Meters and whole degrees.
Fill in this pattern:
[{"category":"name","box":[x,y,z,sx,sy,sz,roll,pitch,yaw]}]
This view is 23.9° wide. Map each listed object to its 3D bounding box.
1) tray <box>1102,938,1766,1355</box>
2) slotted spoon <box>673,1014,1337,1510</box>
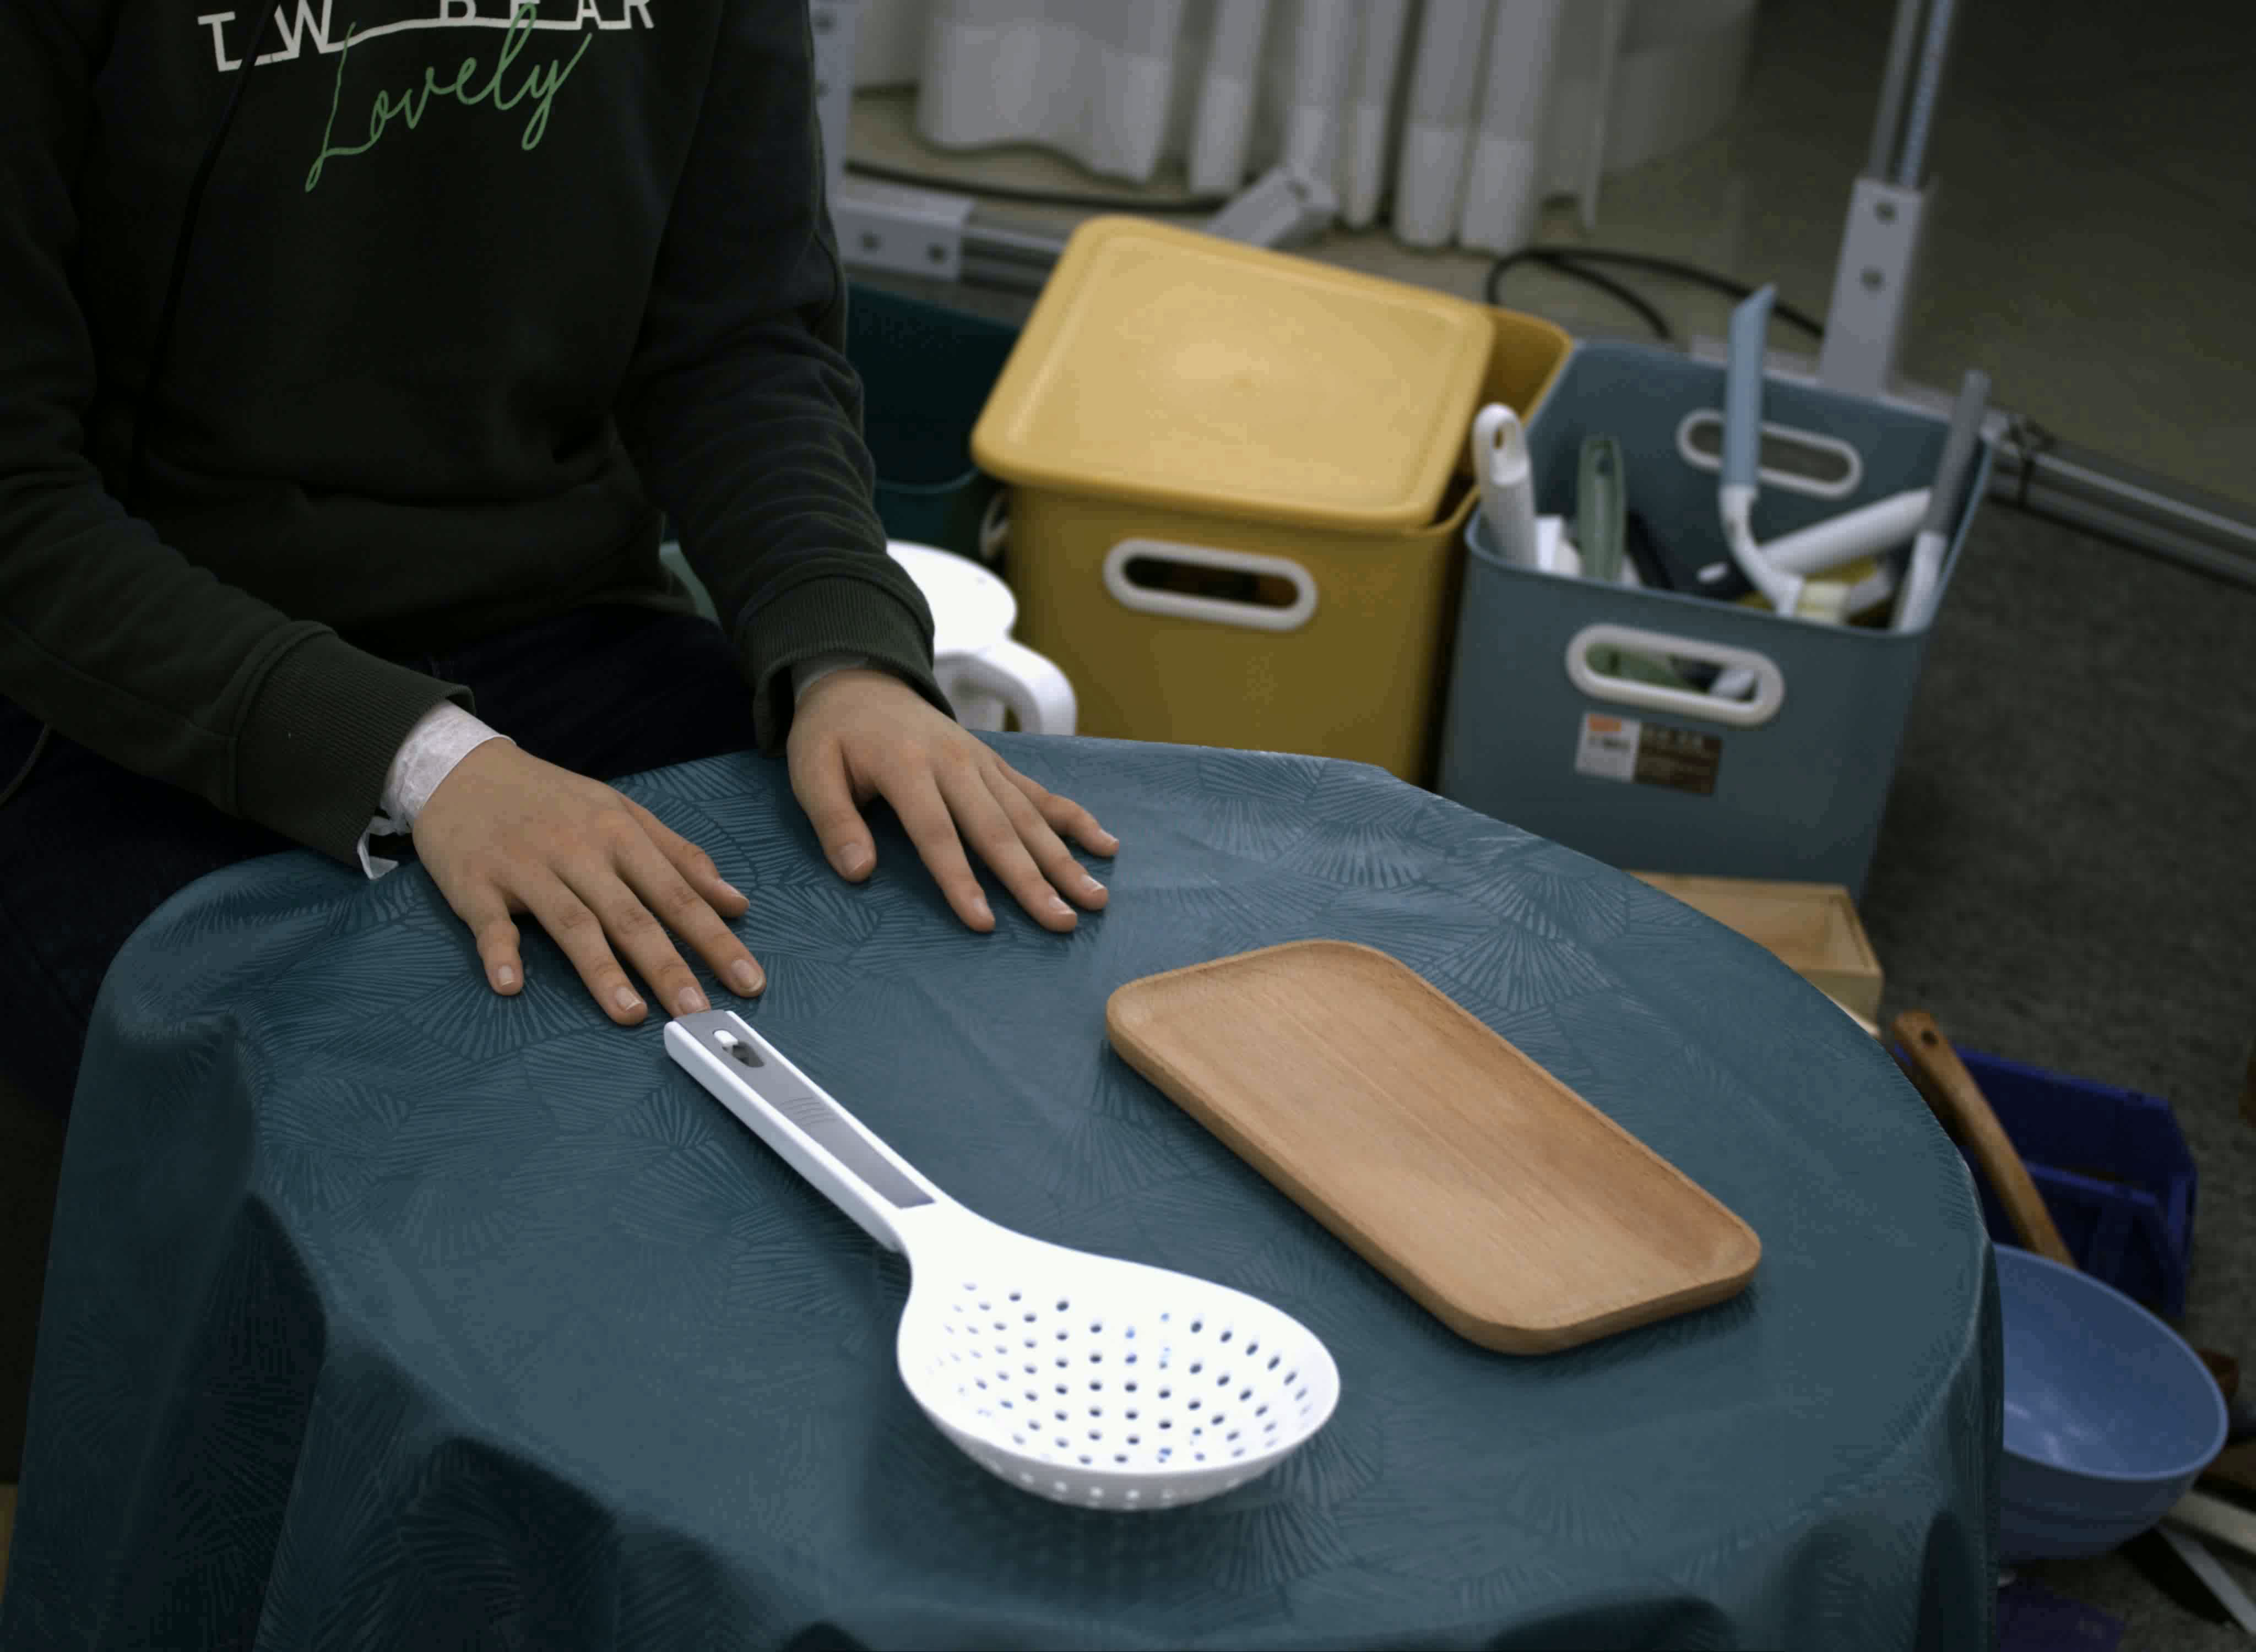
[{"category":"tray","box":[0.102,0.108,1.836,0.130,0.023,0.253,-10,30,-33]},{"category":"slotted spoon","box":[-0.060,0.134,1.716,0.135,0.045,0.353,-7,29,-30]}]
